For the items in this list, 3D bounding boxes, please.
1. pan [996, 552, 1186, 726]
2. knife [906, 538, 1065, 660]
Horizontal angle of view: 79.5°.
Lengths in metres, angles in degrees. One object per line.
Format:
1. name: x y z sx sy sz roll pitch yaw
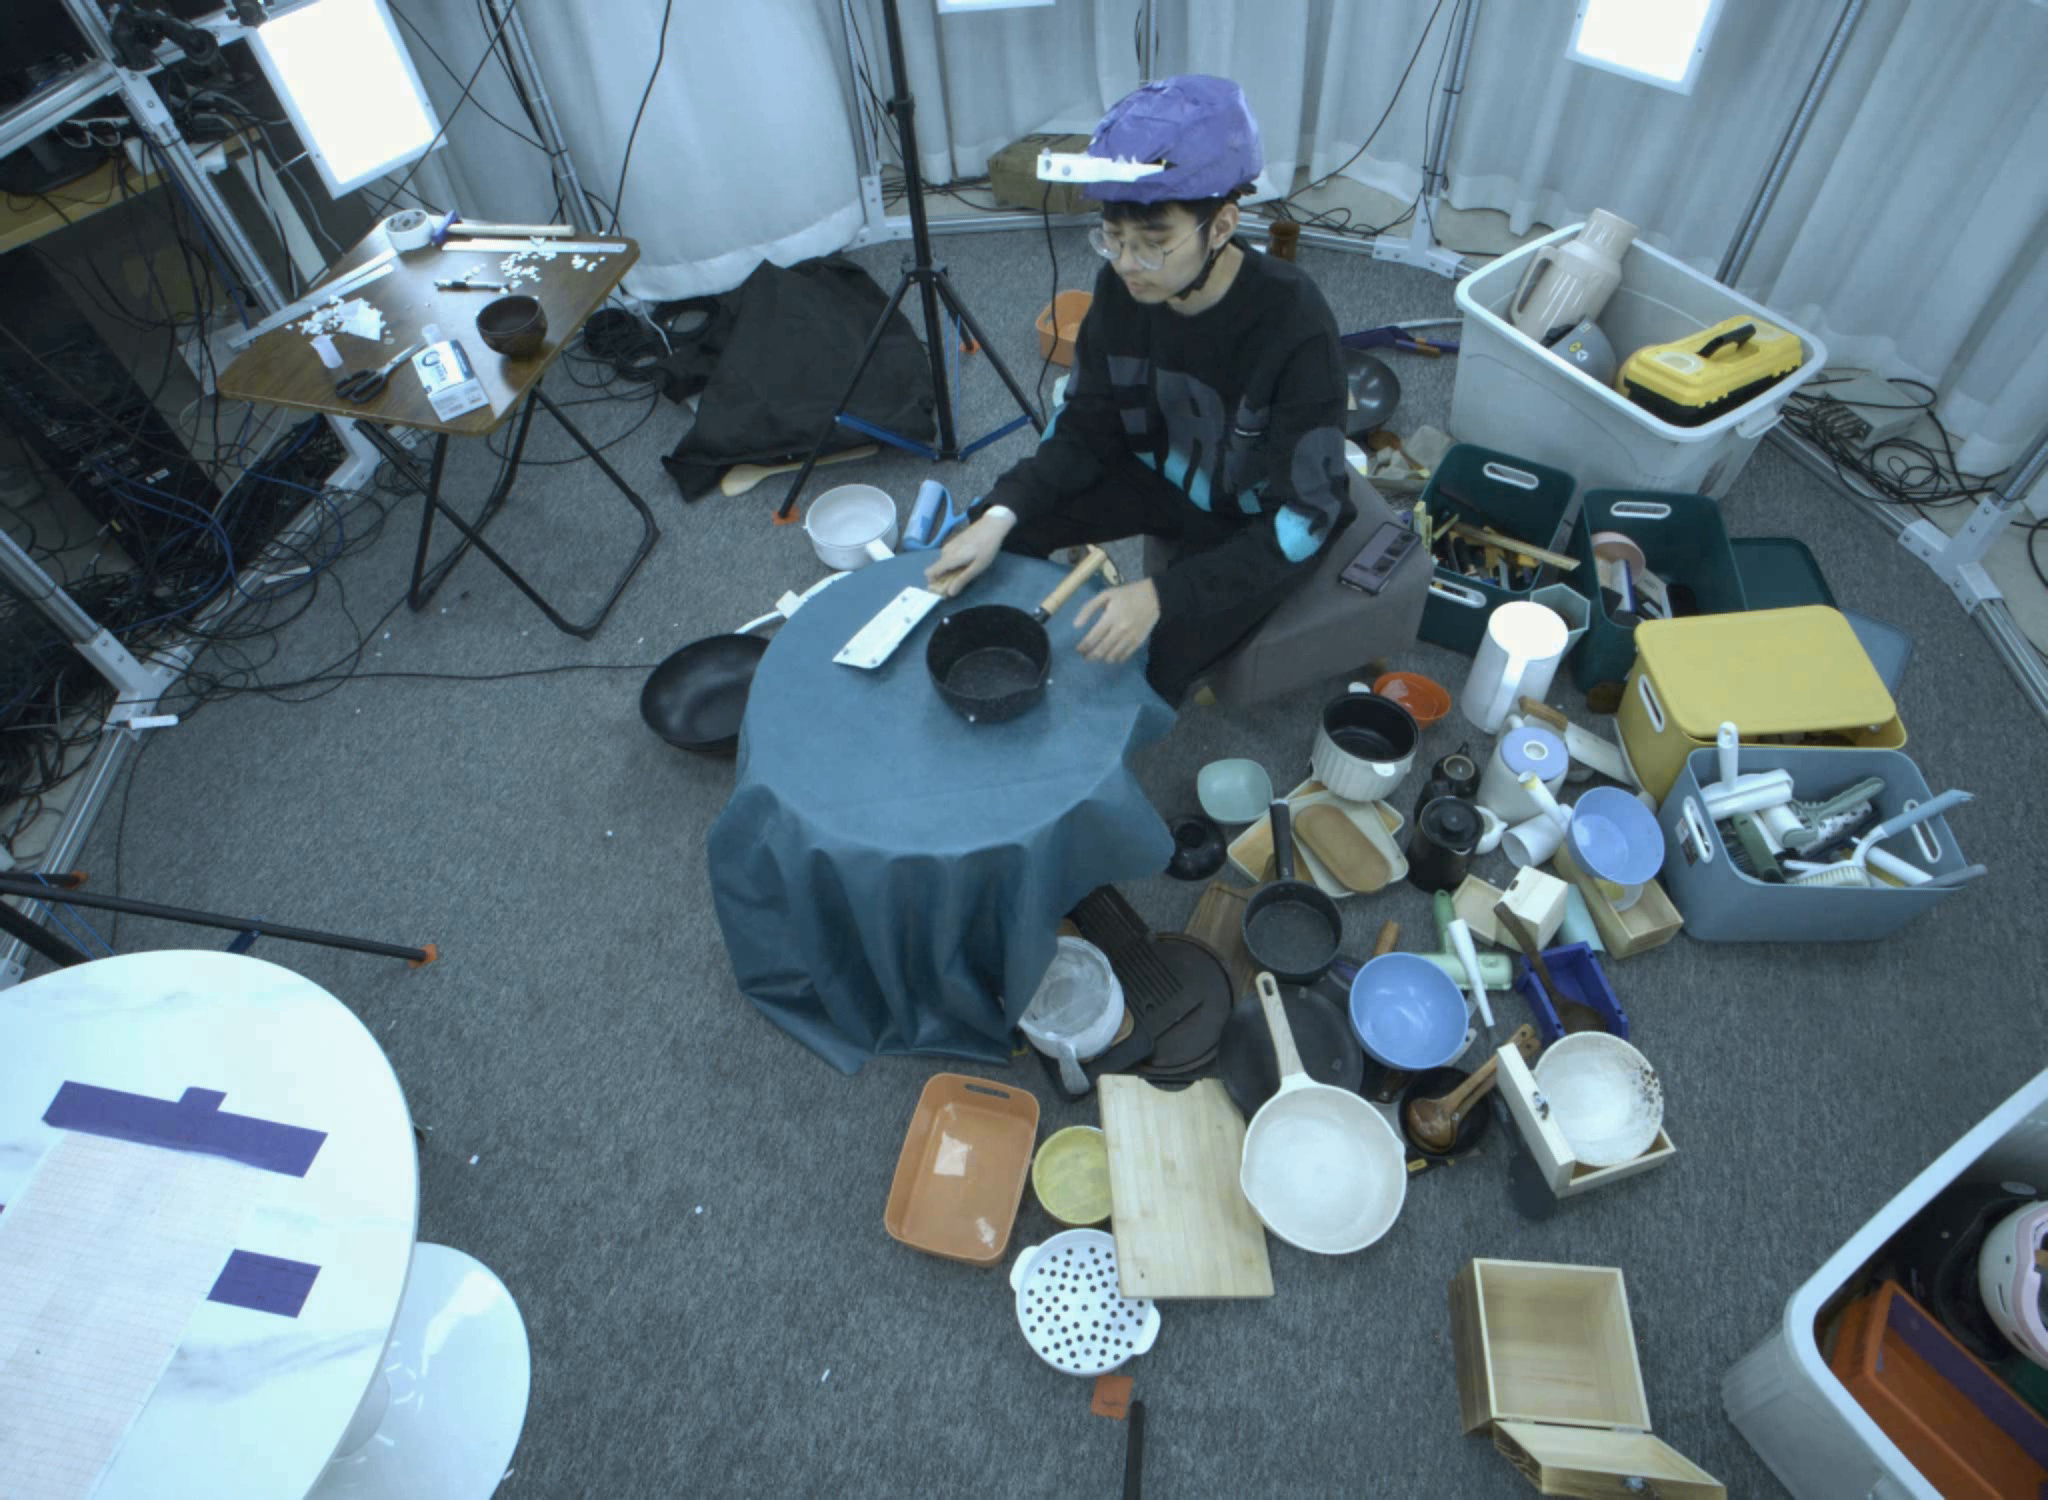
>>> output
1. pan: 0.113 -0.173 1.837 0.345 0.109 0.203 -39 61 -21
2. knife: -0.051 -0.238 1.931 0.317 0.022 0.111 -42 43 -22
